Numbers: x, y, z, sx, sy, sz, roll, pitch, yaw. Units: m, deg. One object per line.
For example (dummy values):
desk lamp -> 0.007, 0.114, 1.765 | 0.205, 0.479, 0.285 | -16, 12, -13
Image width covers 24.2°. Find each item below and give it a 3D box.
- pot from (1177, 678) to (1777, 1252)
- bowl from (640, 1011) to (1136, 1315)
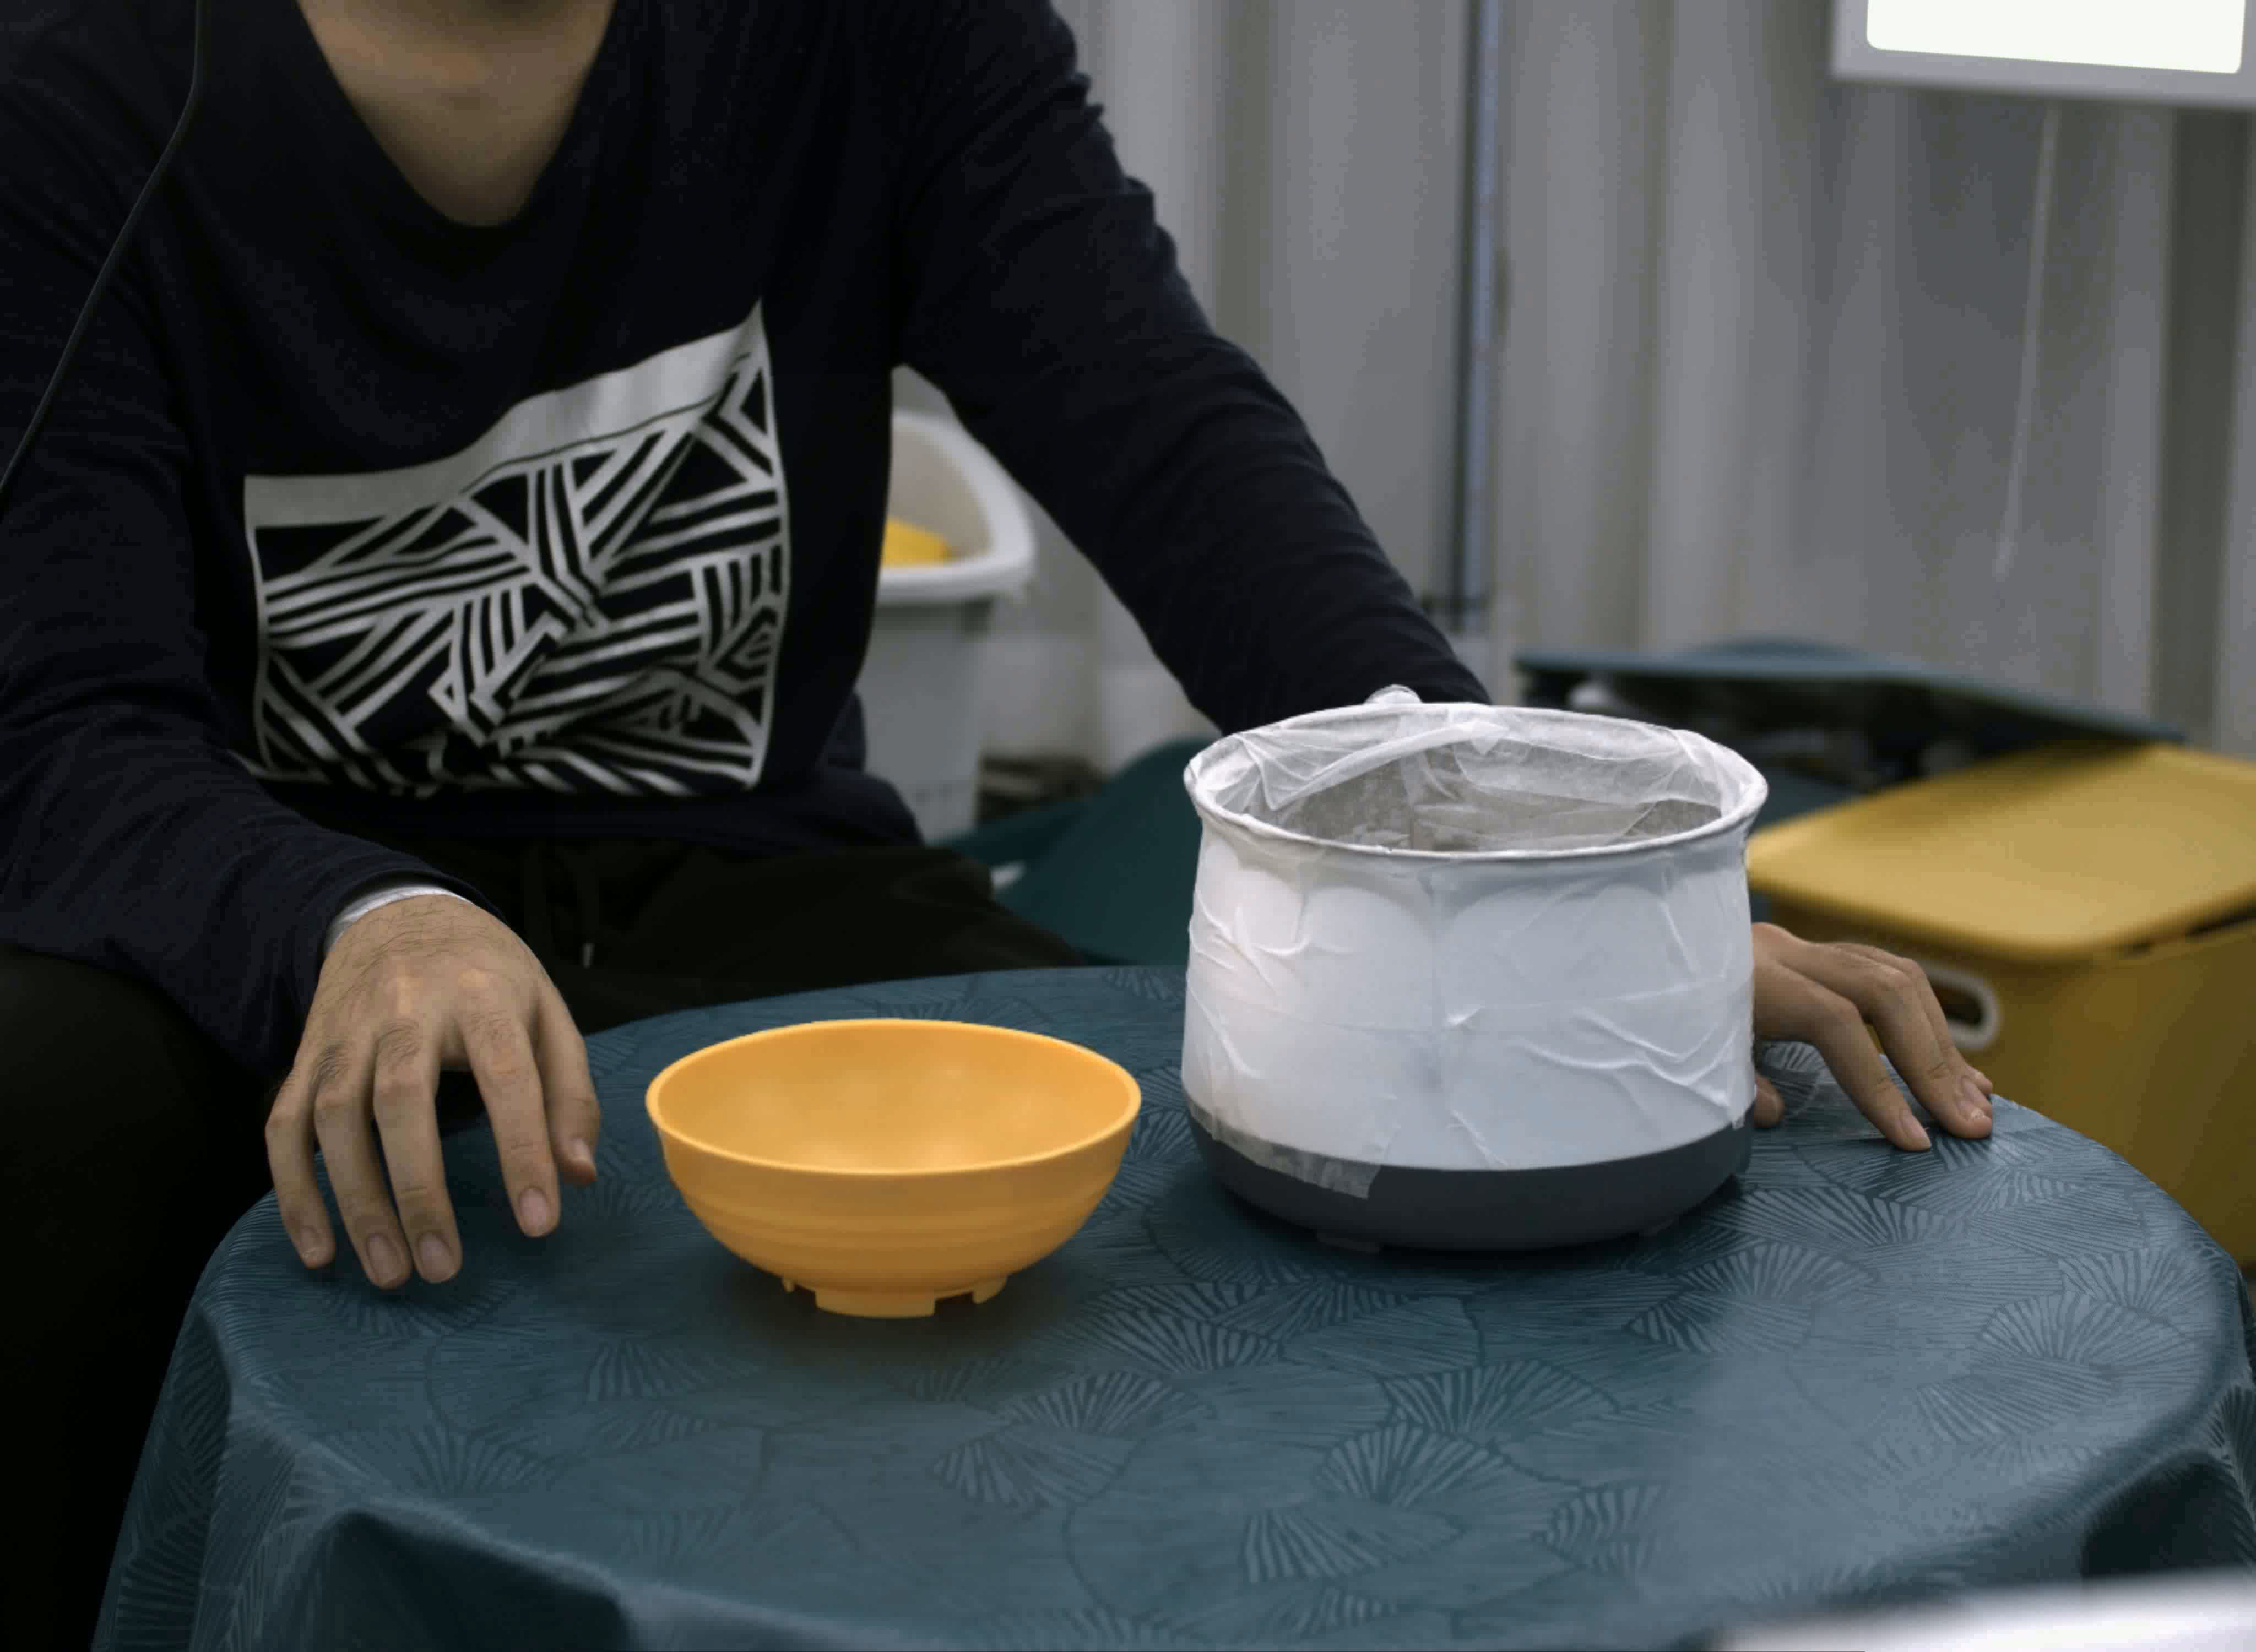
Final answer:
pot -> 0.099, 0.038, 1.637 | 0.179, 0.137, 0.231 | 0, 16, -13
bowl -> -0.071, 0.103, 1.538 | 0.145, 0.060, 0.144 | 2, 16, 0
